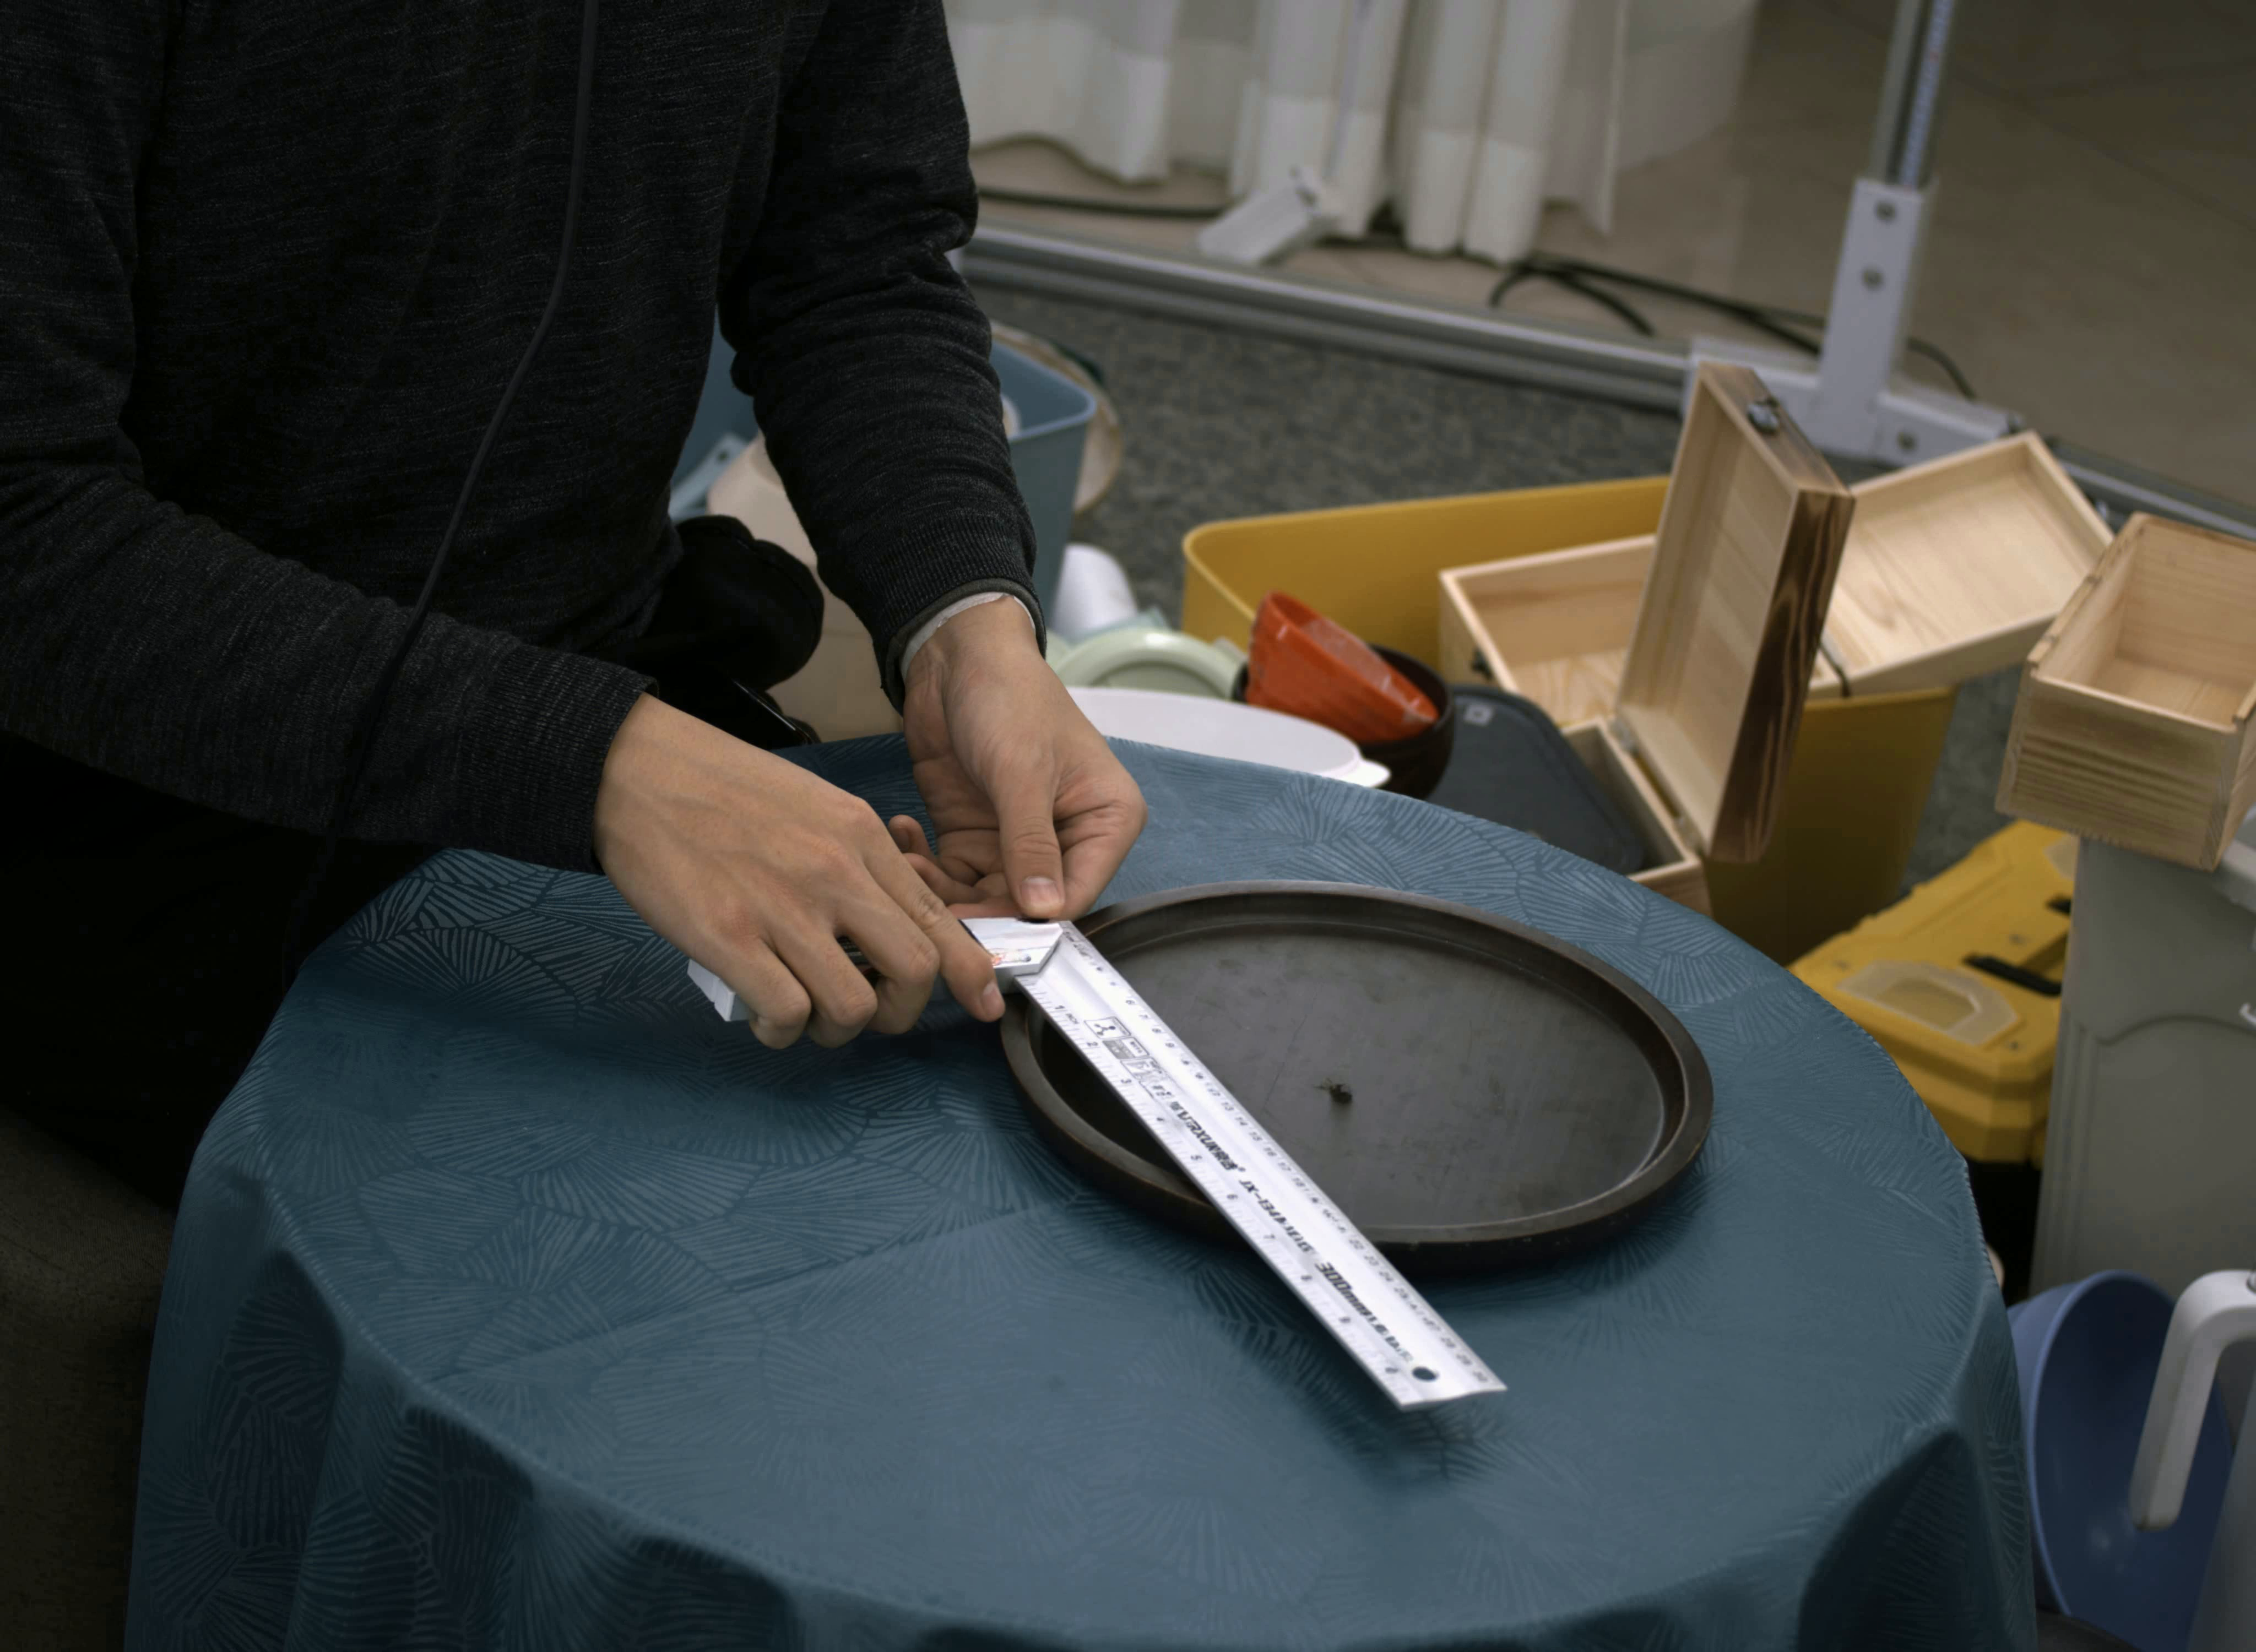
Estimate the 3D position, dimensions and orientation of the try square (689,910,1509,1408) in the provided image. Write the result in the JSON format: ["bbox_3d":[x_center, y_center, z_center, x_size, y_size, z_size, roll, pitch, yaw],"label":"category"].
[{"bbox_3d":[-0.016,0.112,1.763,0.151,0.016,0.316,-6,30,-28],"label":"try square"}]

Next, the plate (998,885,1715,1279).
[{"bbox_3d":[0.079,0.087,1.865,0.254,0.029,0.256,5,28,-3],"label":"plate"}]
